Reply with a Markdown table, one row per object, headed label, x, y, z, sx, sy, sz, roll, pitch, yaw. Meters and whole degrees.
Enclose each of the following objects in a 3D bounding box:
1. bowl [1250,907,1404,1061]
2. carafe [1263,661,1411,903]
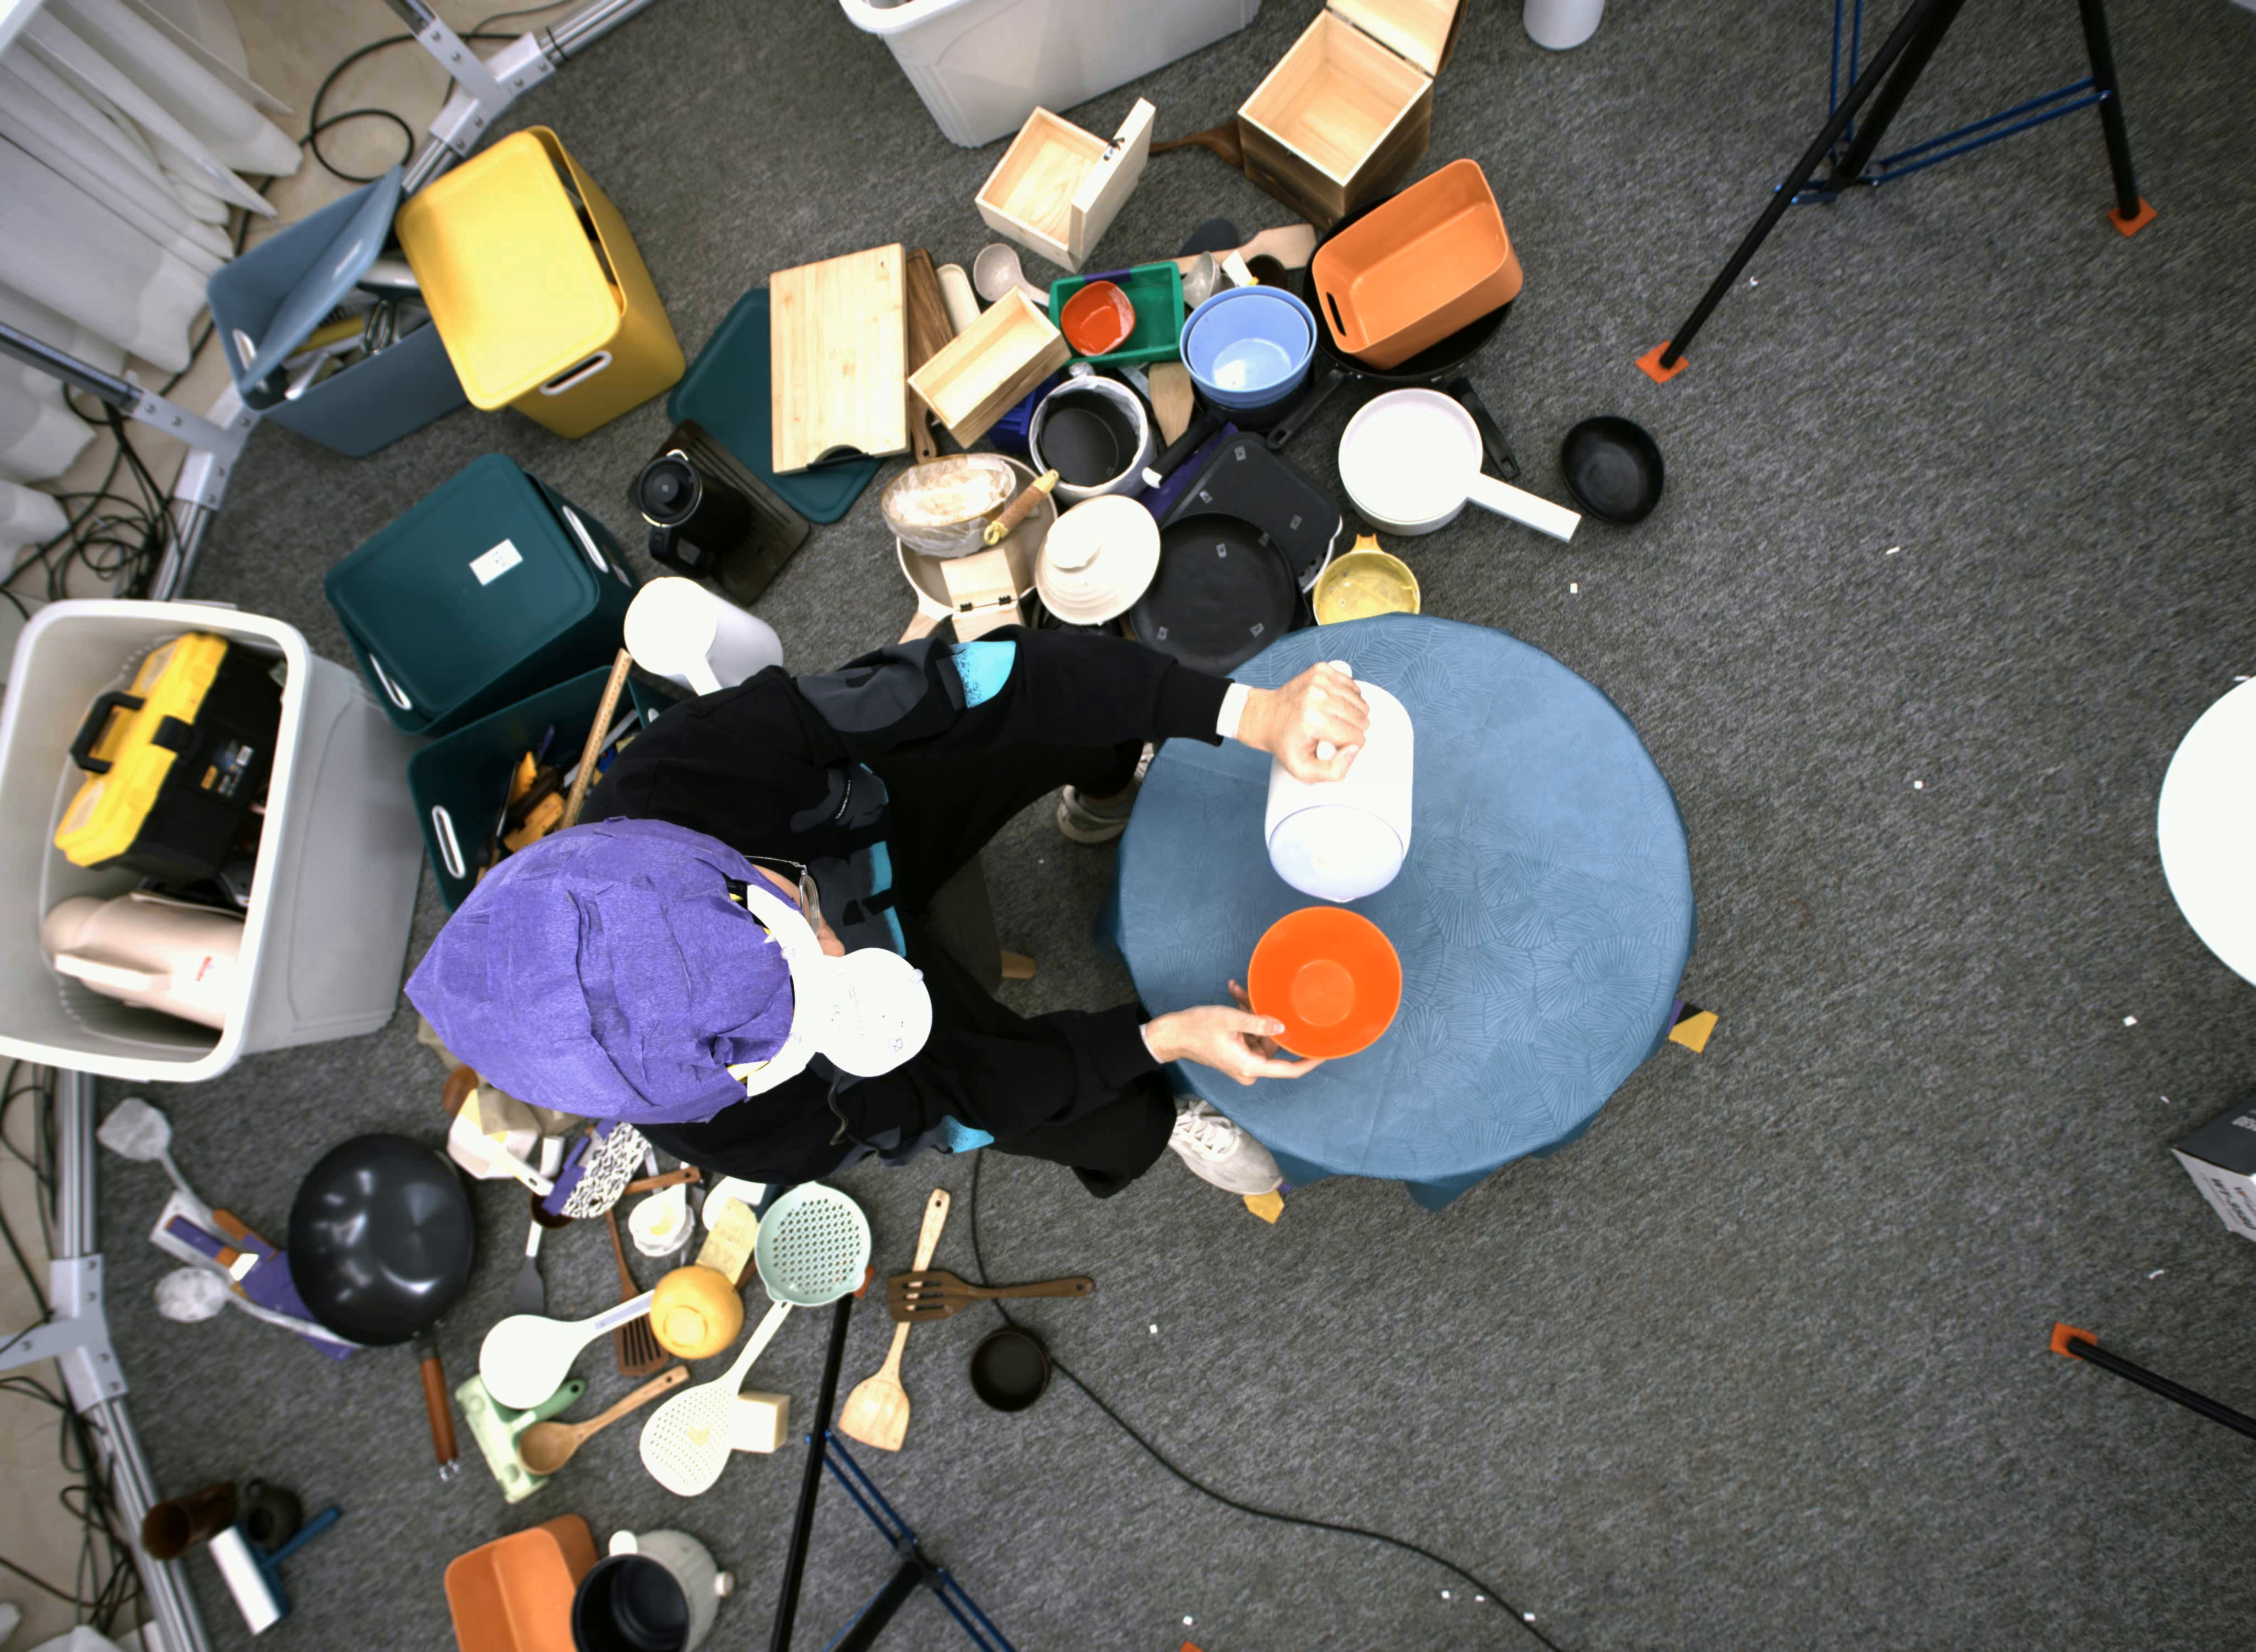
| label | x | y | z | sx | sy | sz | roll | pitch | yaw |
| --- | --- | --- | --- | --- | --- | --- | --- | --- | --- |
| bowl | 0.195 | 0.156 | 1.368 | 0.148 | 0.105 | 0.147 | -1 | 85 | 7 |
| carafe | 0.188 | -0.053 | 1.252 | 0.133 | 0.195 | 0.177 | -4 | 42 | 15 |
